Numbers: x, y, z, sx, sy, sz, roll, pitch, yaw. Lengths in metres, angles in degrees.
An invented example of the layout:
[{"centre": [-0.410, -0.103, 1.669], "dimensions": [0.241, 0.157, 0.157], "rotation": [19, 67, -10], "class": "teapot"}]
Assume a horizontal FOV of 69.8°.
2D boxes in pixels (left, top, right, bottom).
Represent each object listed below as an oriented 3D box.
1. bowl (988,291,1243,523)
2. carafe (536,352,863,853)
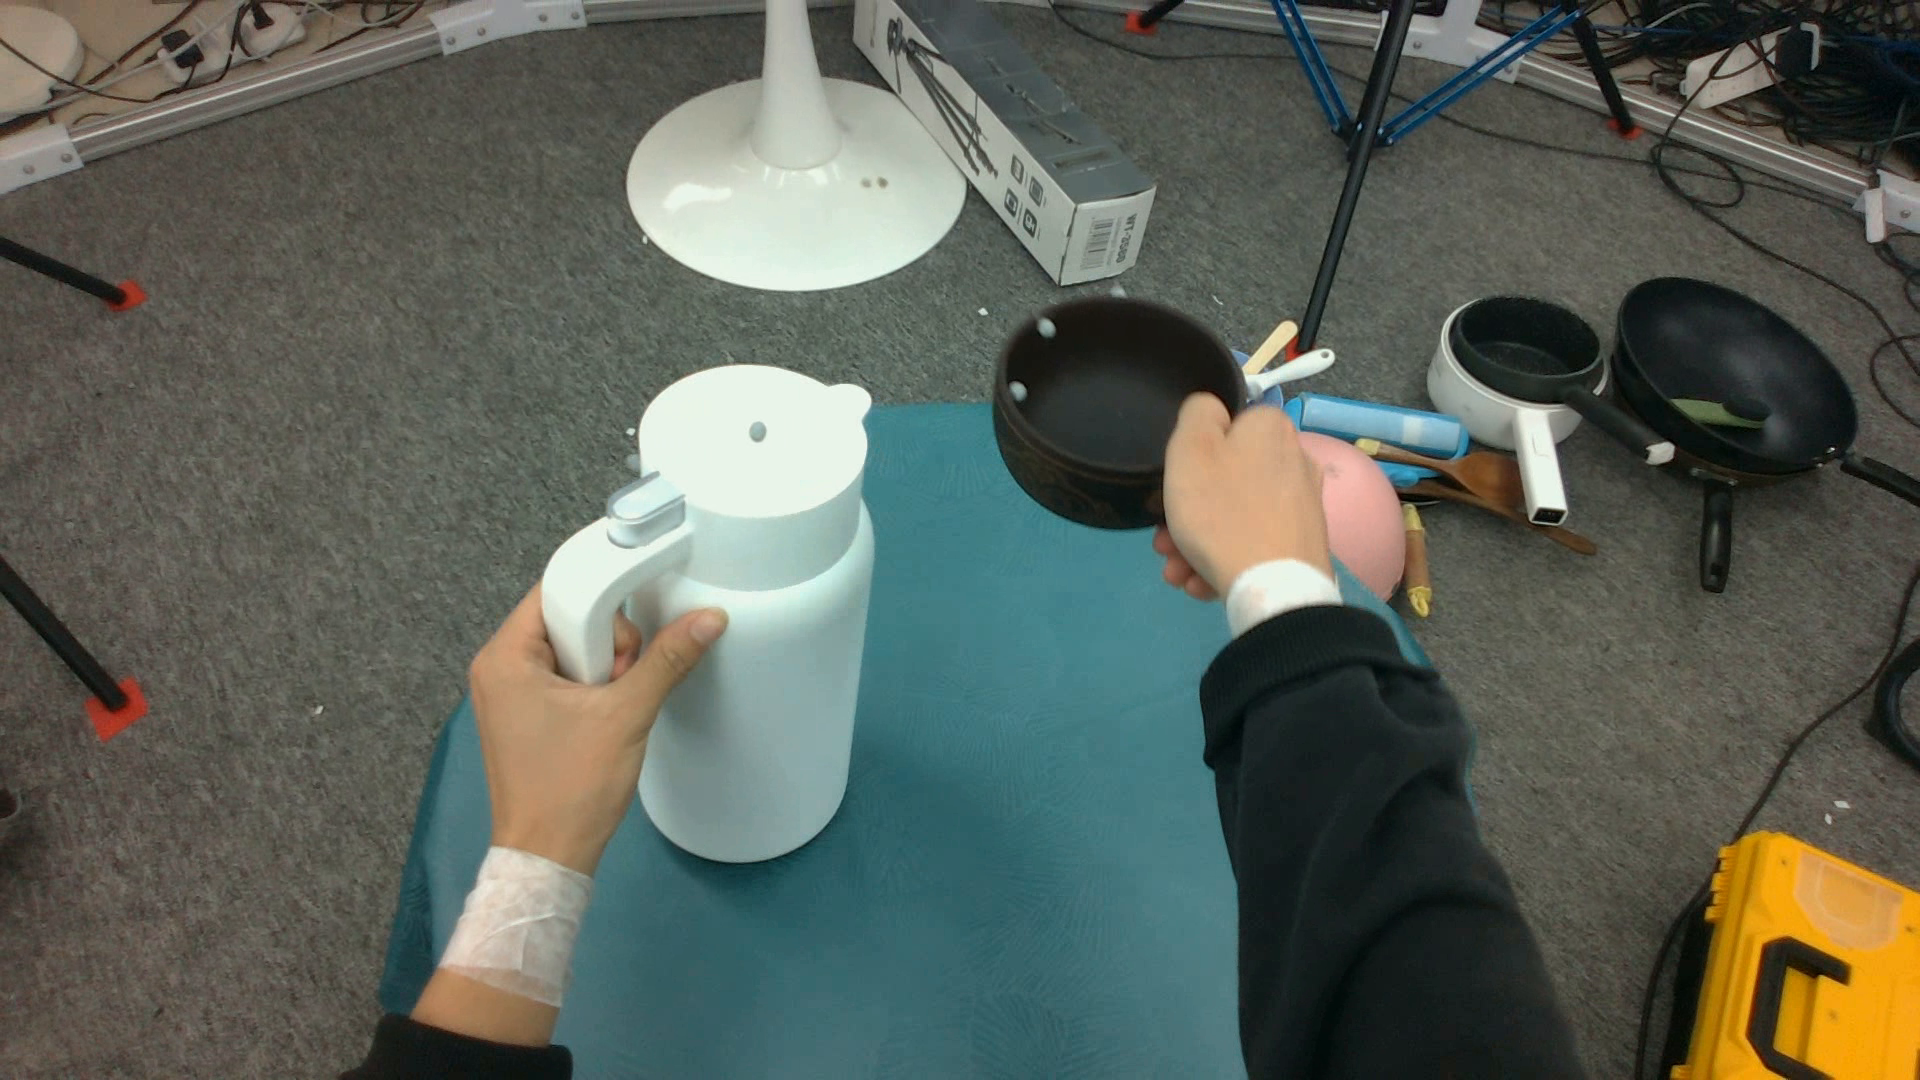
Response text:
[{"centre": [0.071, -0.056, 0.661], "dimensions": [0.118, 0.069, 0.118], "rotation": [2, 51, -3], "class": "bowl"}, {"centre": [-0.122, 0.049, 0.680], "dimensions": [0.124, 0.267, 0.173], "rotation": [36, 50, 20], "class": "carafe"}]
